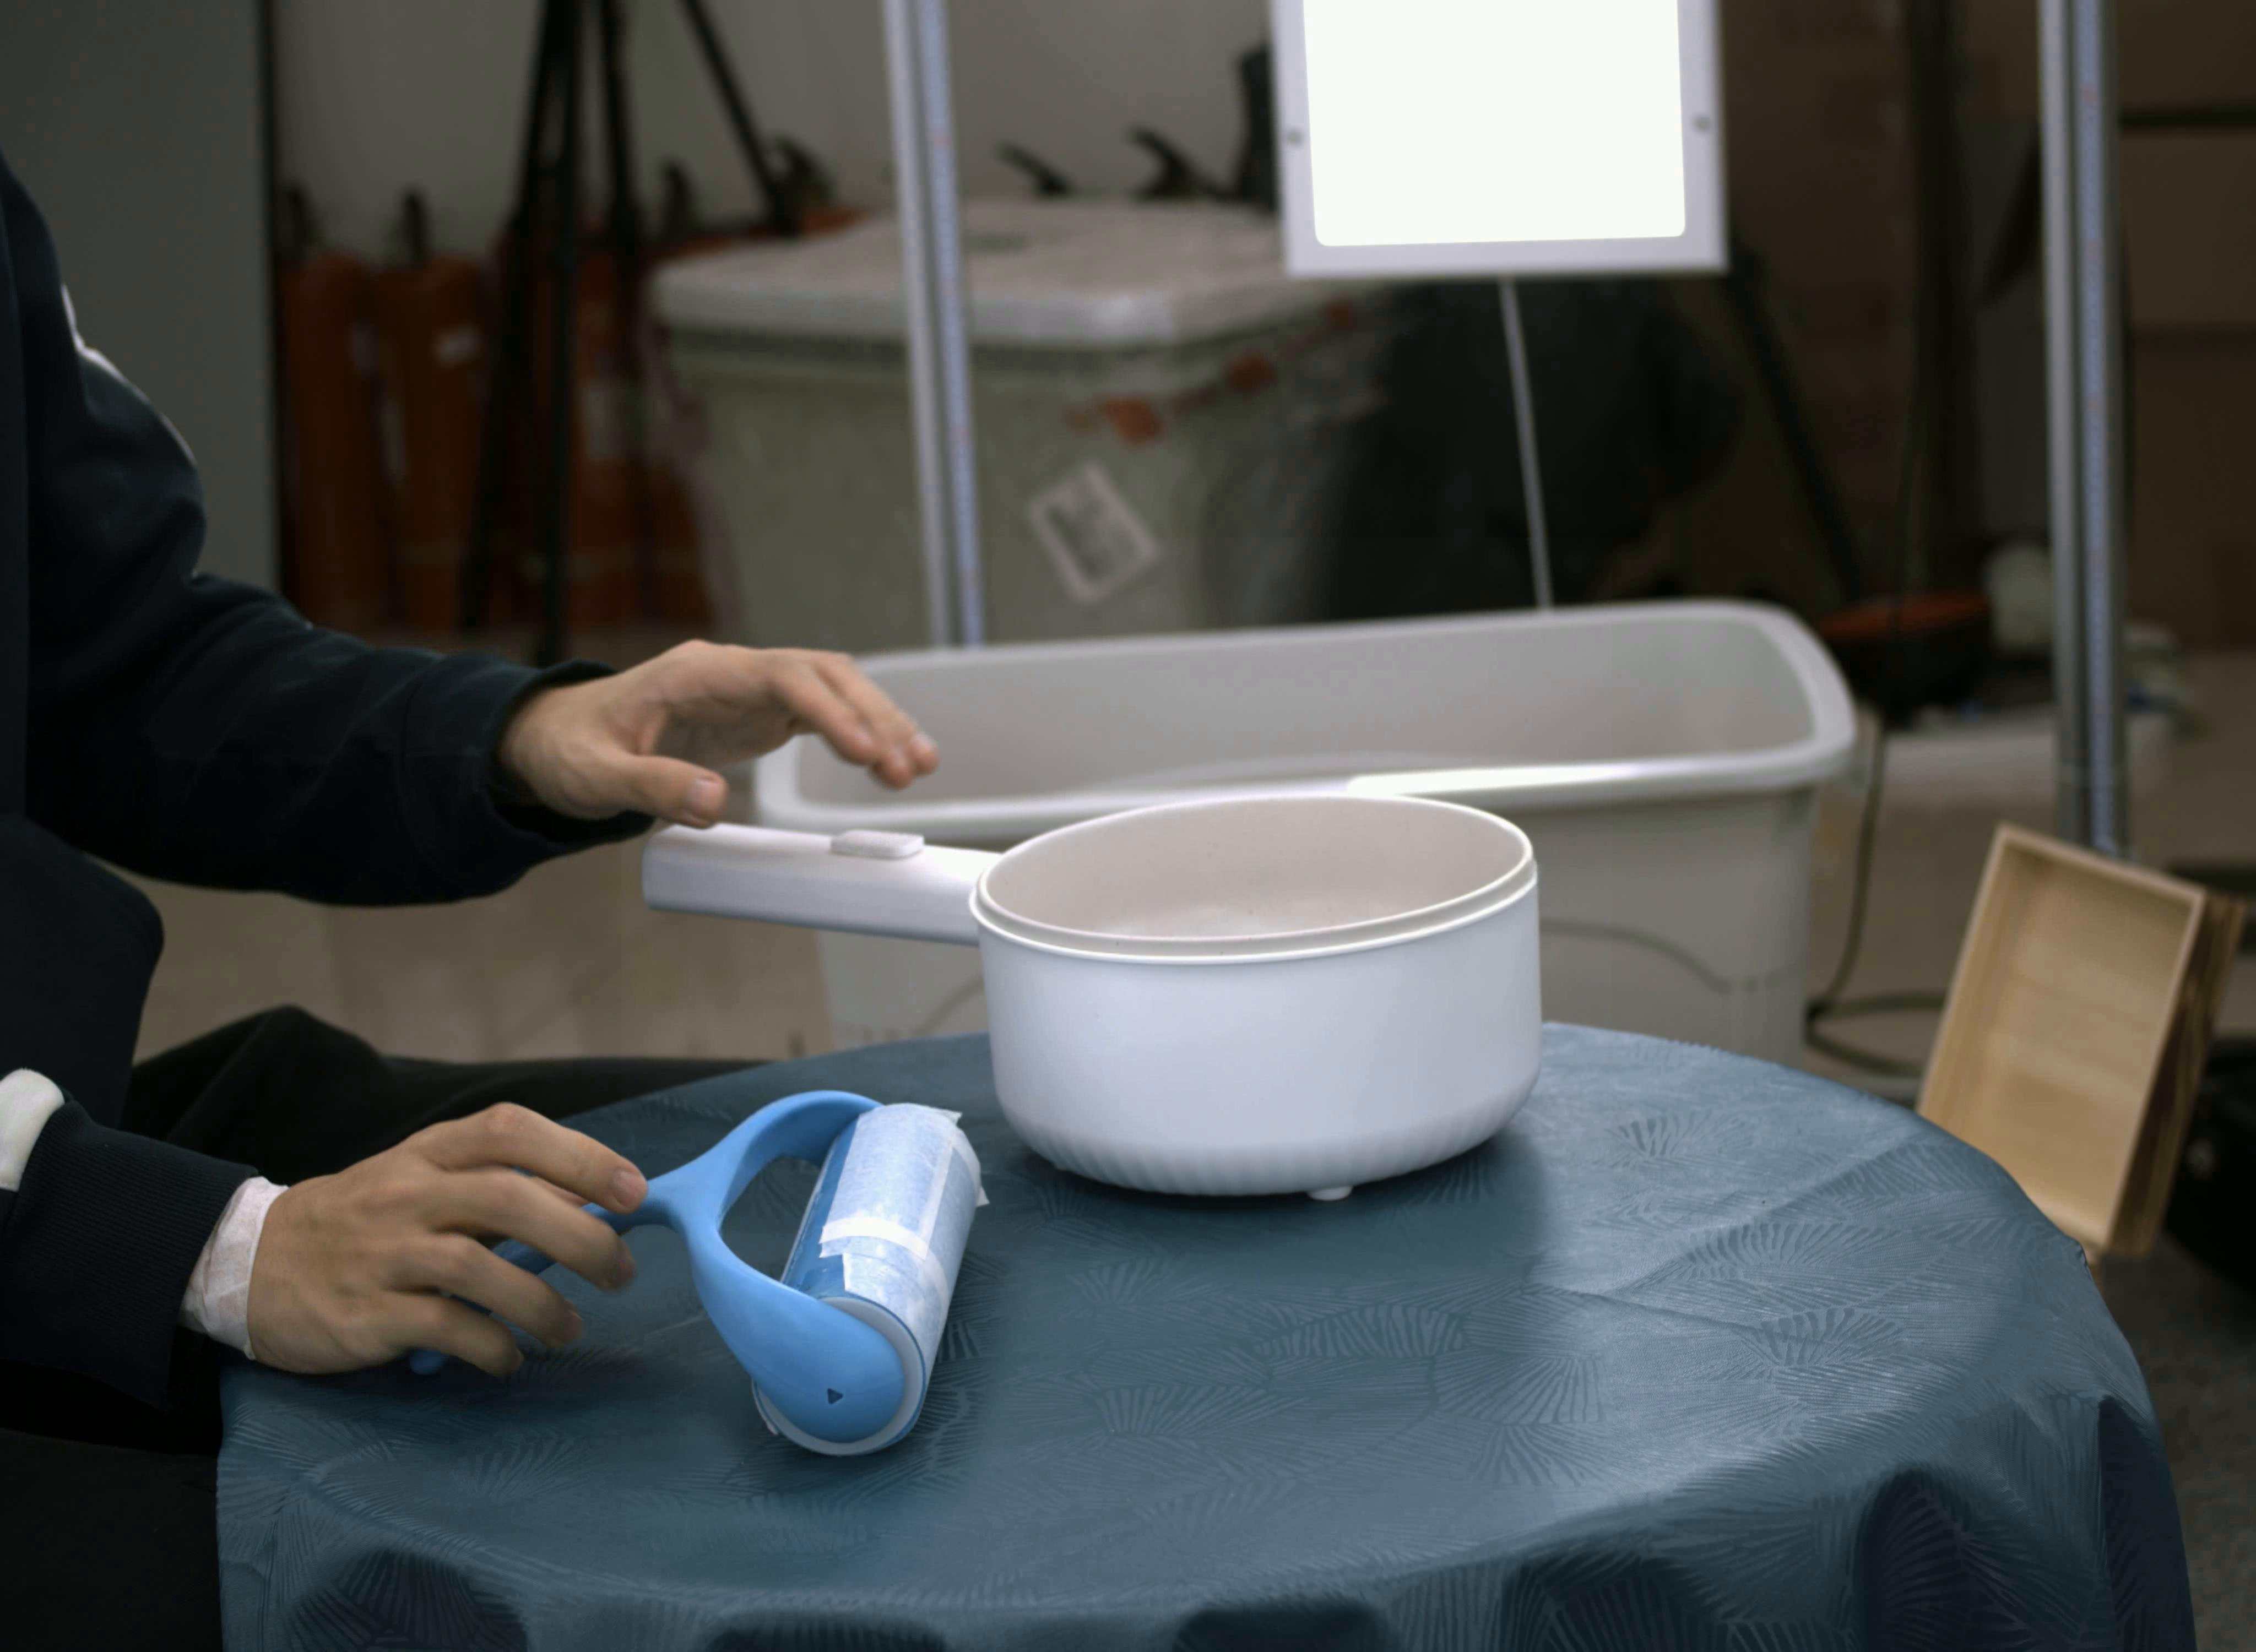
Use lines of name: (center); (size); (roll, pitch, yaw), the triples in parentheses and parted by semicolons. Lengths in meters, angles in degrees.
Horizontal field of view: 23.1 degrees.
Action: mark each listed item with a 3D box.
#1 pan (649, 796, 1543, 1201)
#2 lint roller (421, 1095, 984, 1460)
pan: (-0.017, 0.058, 1.971); (0.362, 0.102, 0.196); (3, 16, 33)
lint roller: (-0.138, 0.145, 1.754); (0.180, 0.068, 0.228); (-3, 15, 2)
